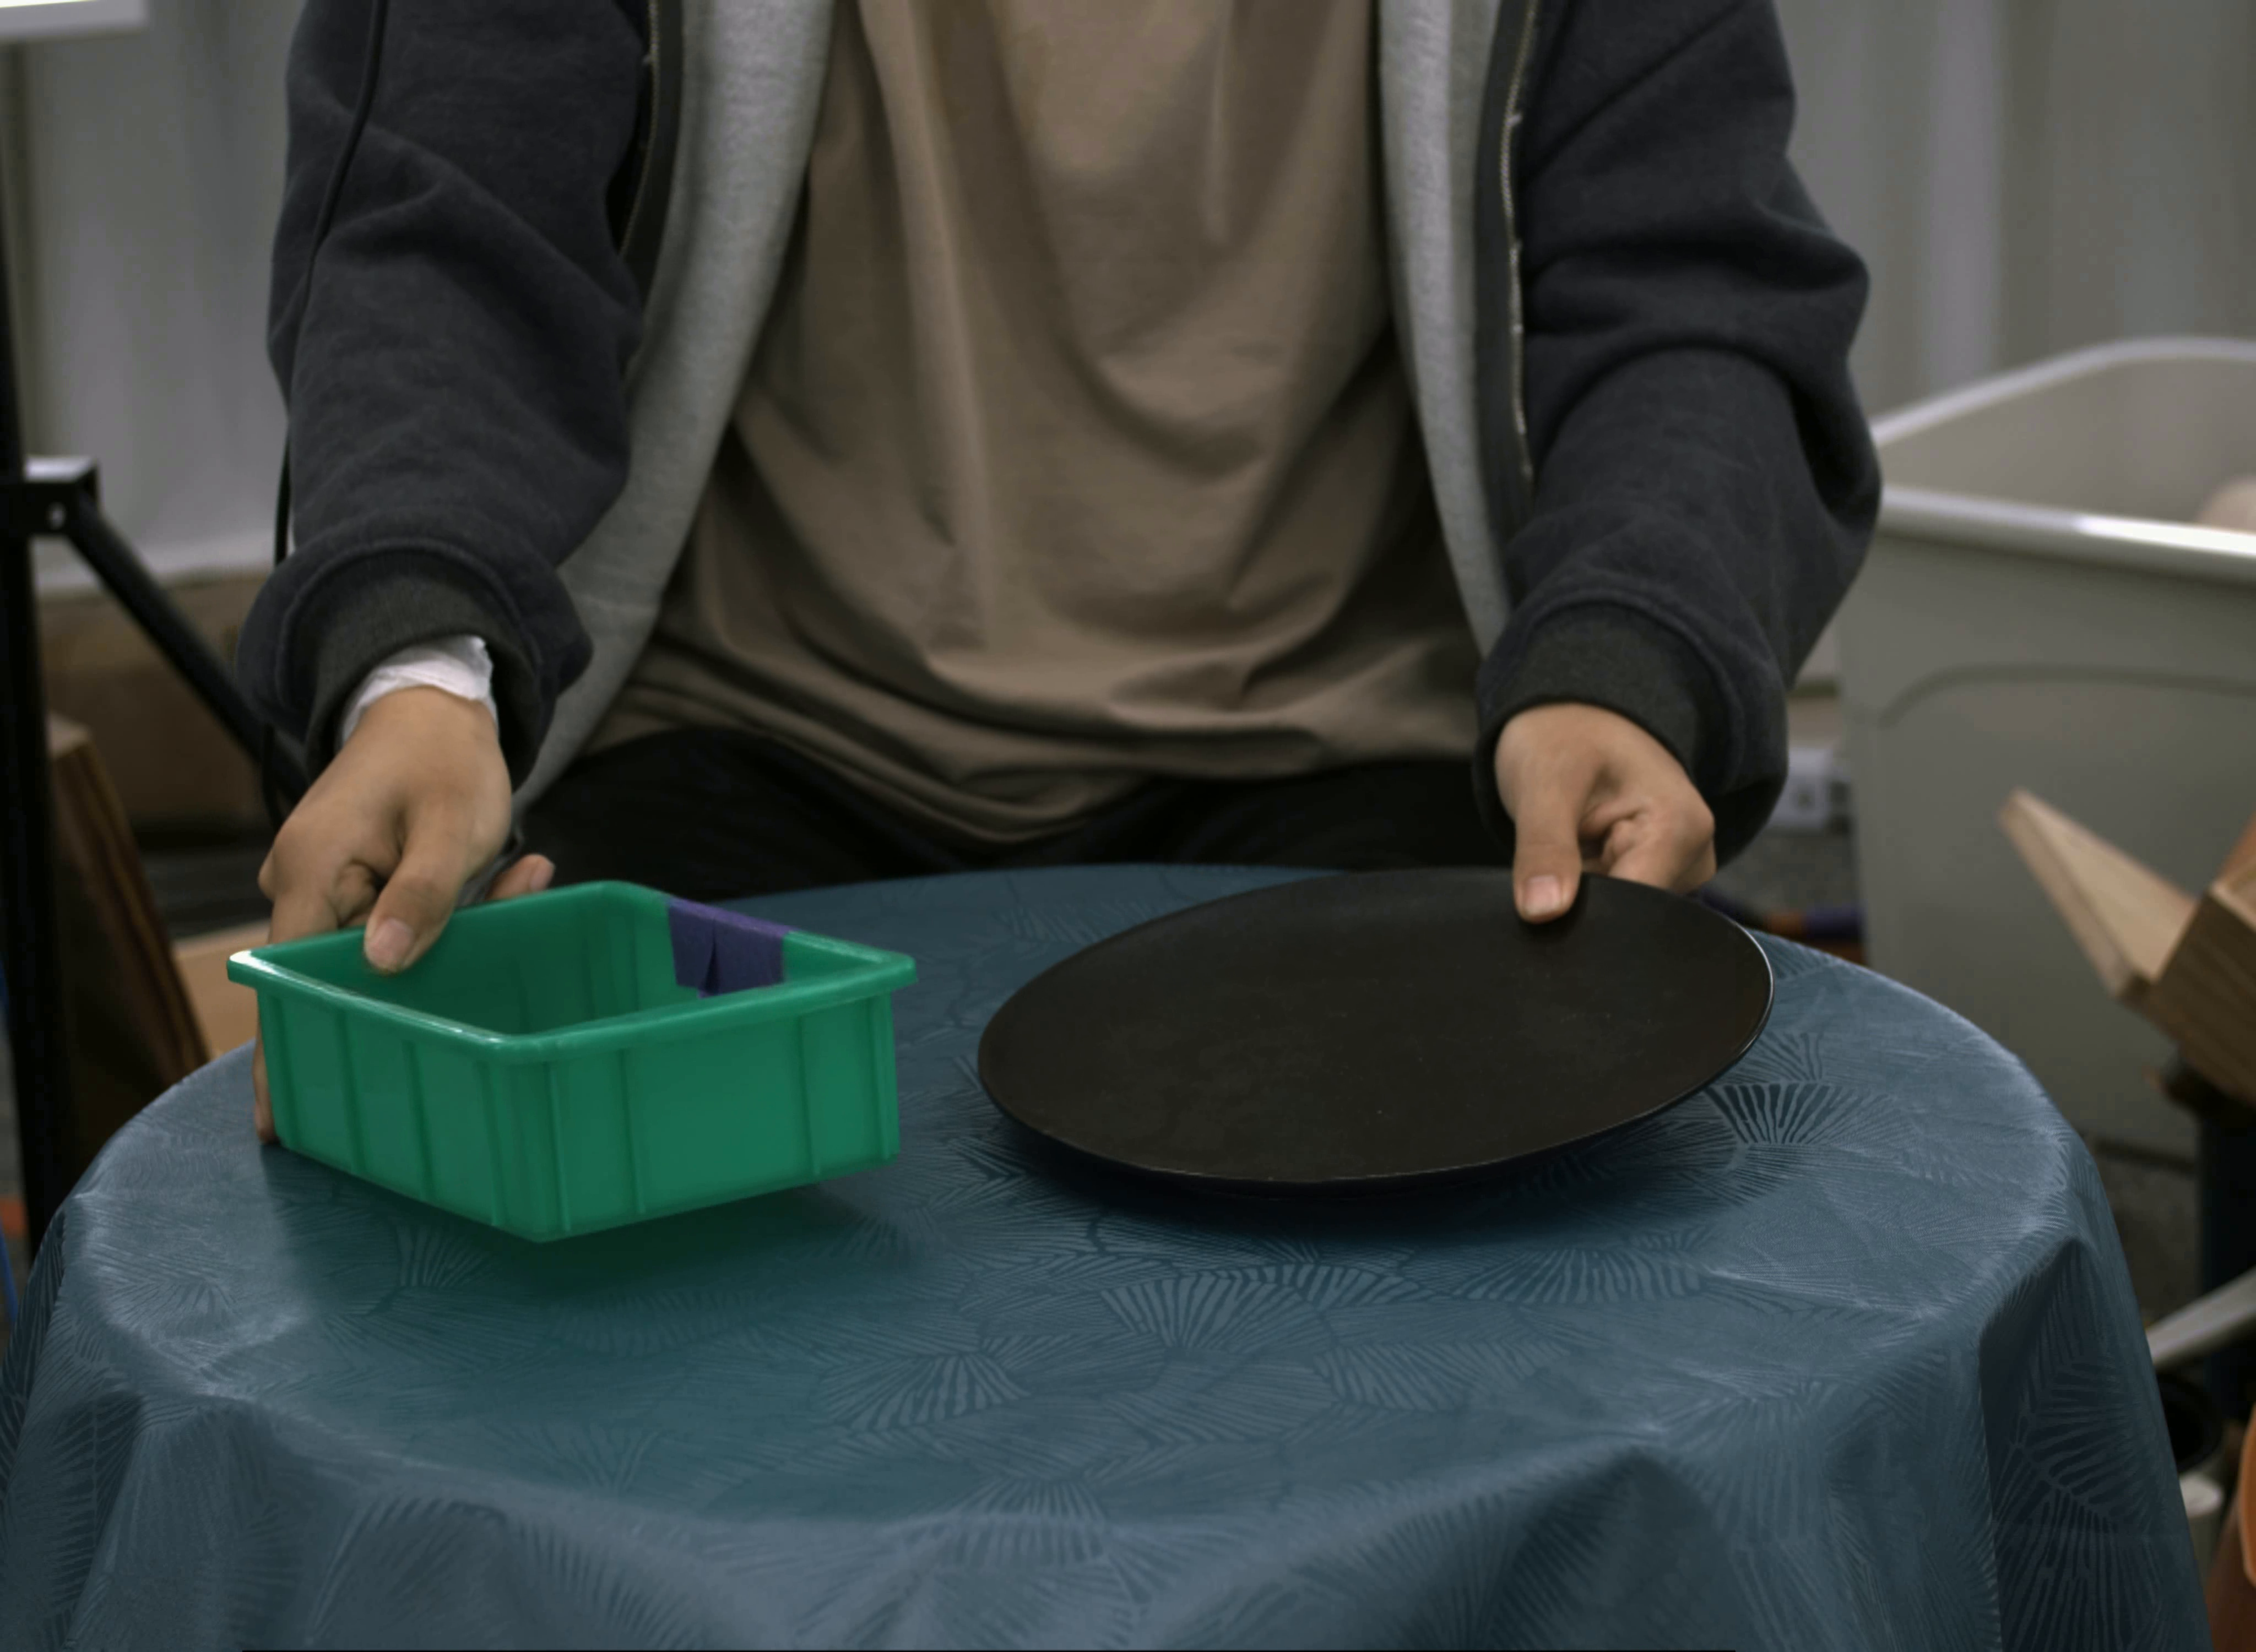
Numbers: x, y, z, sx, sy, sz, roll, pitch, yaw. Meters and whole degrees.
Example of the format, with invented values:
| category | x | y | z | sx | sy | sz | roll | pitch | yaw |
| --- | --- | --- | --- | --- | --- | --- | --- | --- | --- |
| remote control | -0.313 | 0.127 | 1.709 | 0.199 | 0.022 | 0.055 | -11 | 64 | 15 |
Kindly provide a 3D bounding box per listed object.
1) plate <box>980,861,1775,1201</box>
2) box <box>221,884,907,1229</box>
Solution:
| category | x | y | z | sx | sy | sz | roll | pitch | yaw |
| --- | --- | --- | --- | --- | --- | --- | --- | --- | --- |
| plate | 0.076 | 0.066 | 1.617 | 0.243 | 0.023 | 0.246 | -8 | 20 | 1 |
| box | -0.168 | 0.067 | 1.587 | 0.135 | 0.065 | 0.215 | -9 | 9 | -32 |
